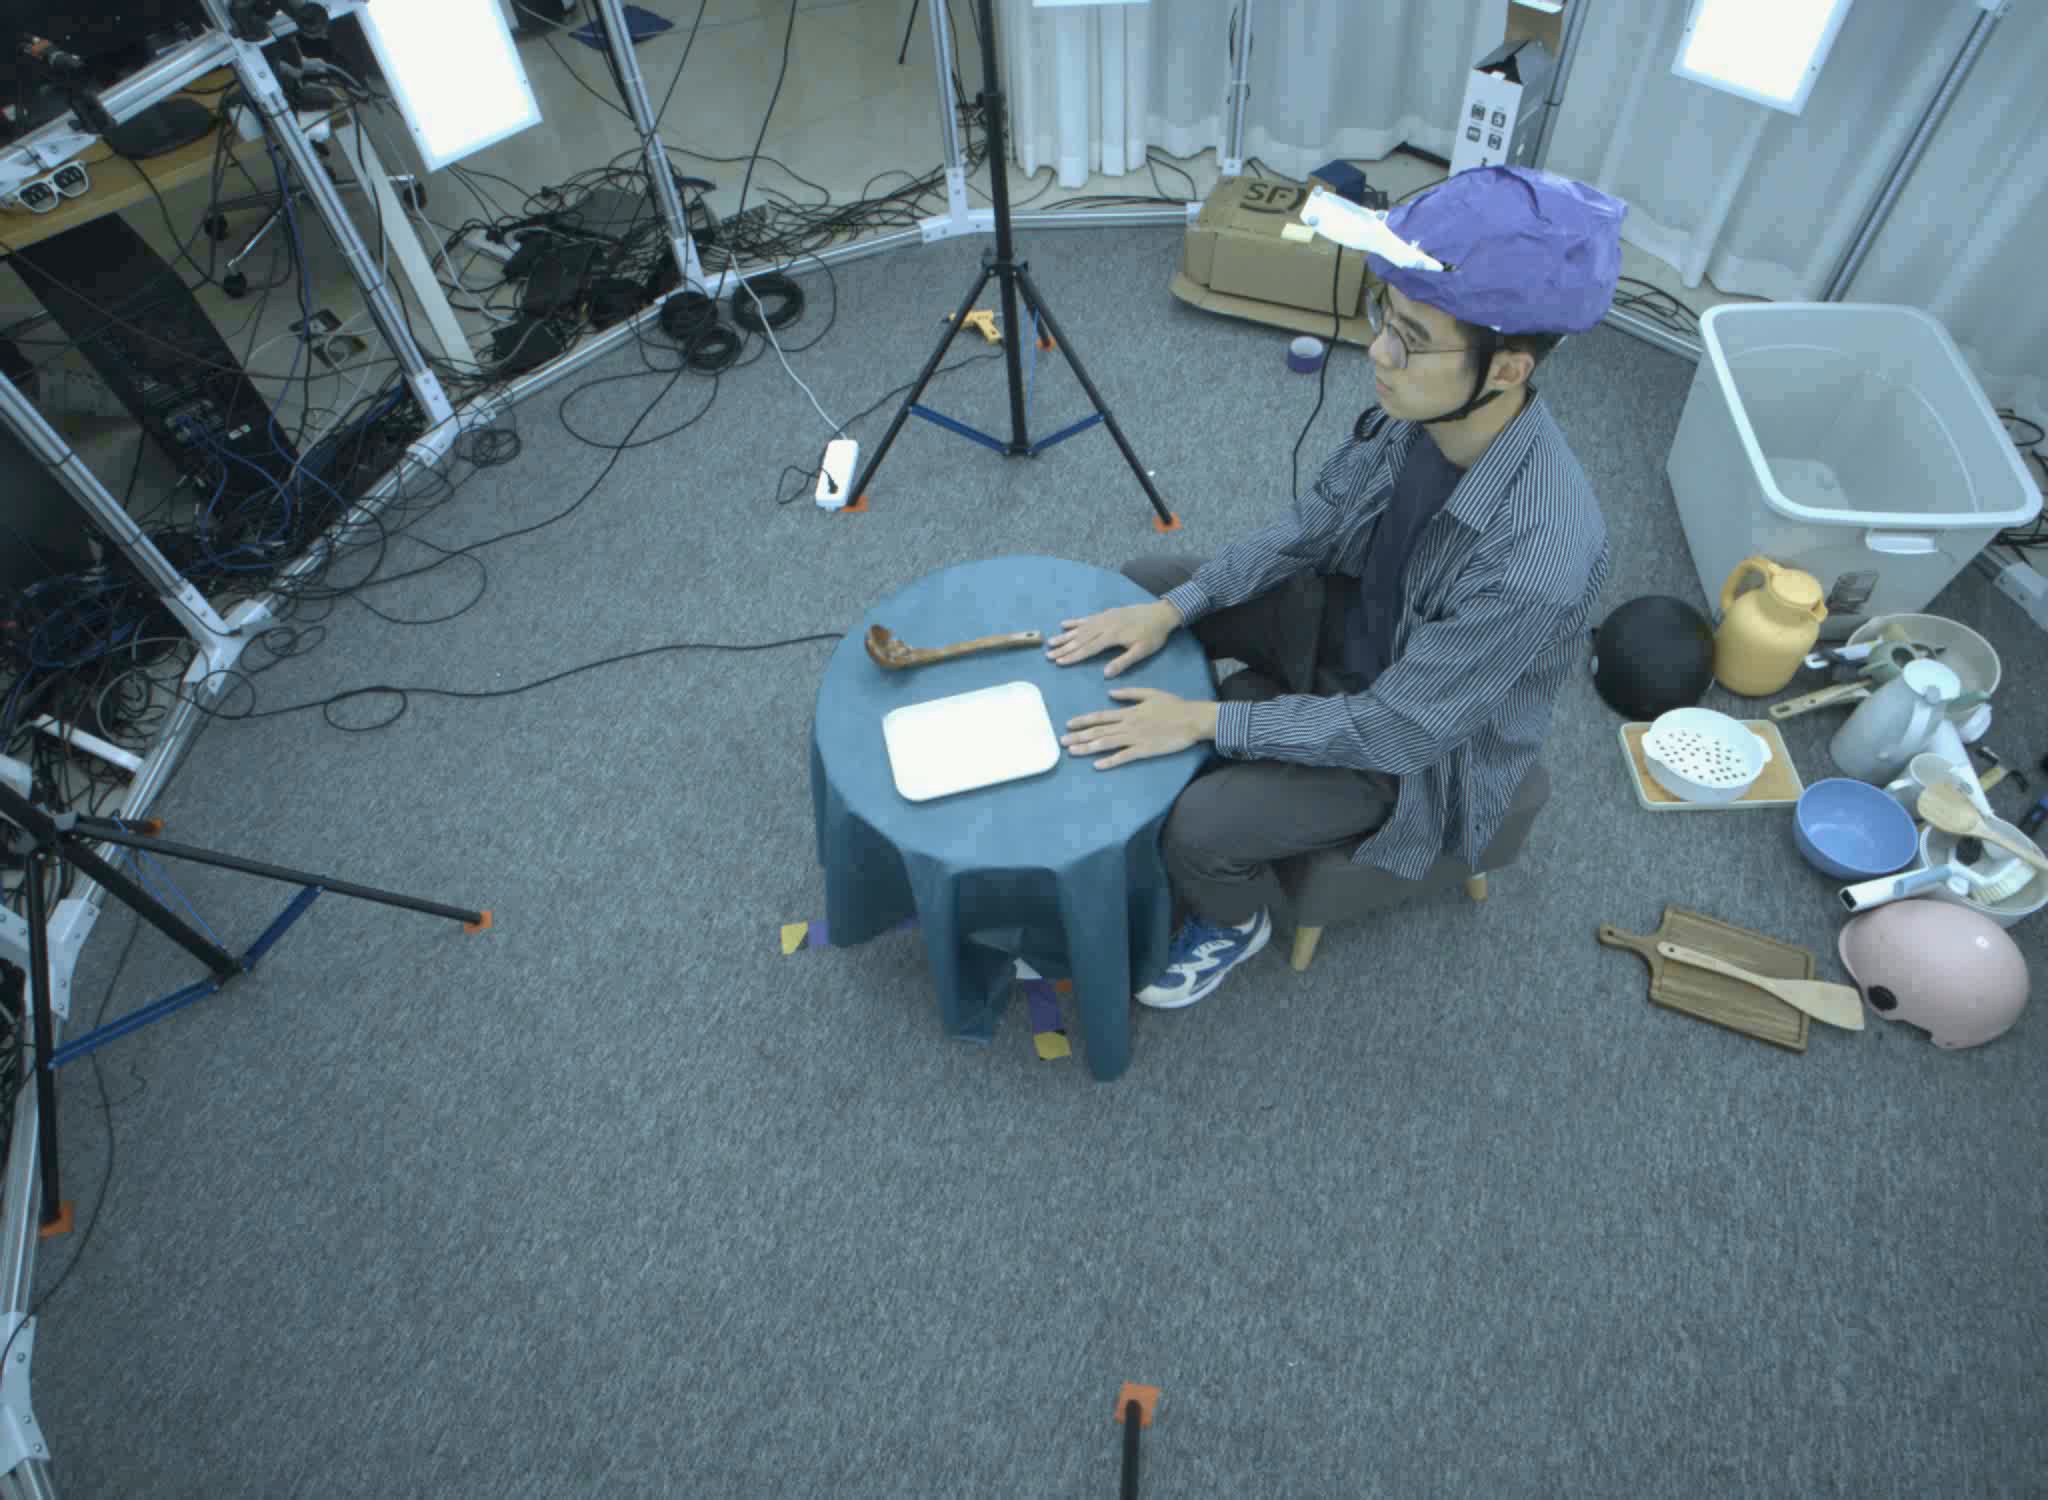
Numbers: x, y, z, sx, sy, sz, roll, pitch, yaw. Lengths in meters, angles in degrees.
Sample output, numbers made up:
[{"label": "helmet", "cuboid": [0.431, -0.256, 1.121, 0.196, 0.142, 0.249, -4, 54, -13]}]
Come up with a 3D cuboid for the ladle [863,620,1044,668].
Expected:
[{"label": "ladle", "cuboid": [-0.107, -0.175, 1.872, 0.275, 0.077, 0.080, -9, 50, -4]}]

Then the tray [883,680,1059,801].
[{"label": "tray", "cuboid": [-0.079, -0.014, 1.793, 0.241, 0.017, 0.168, -13, 56, -8]}]
